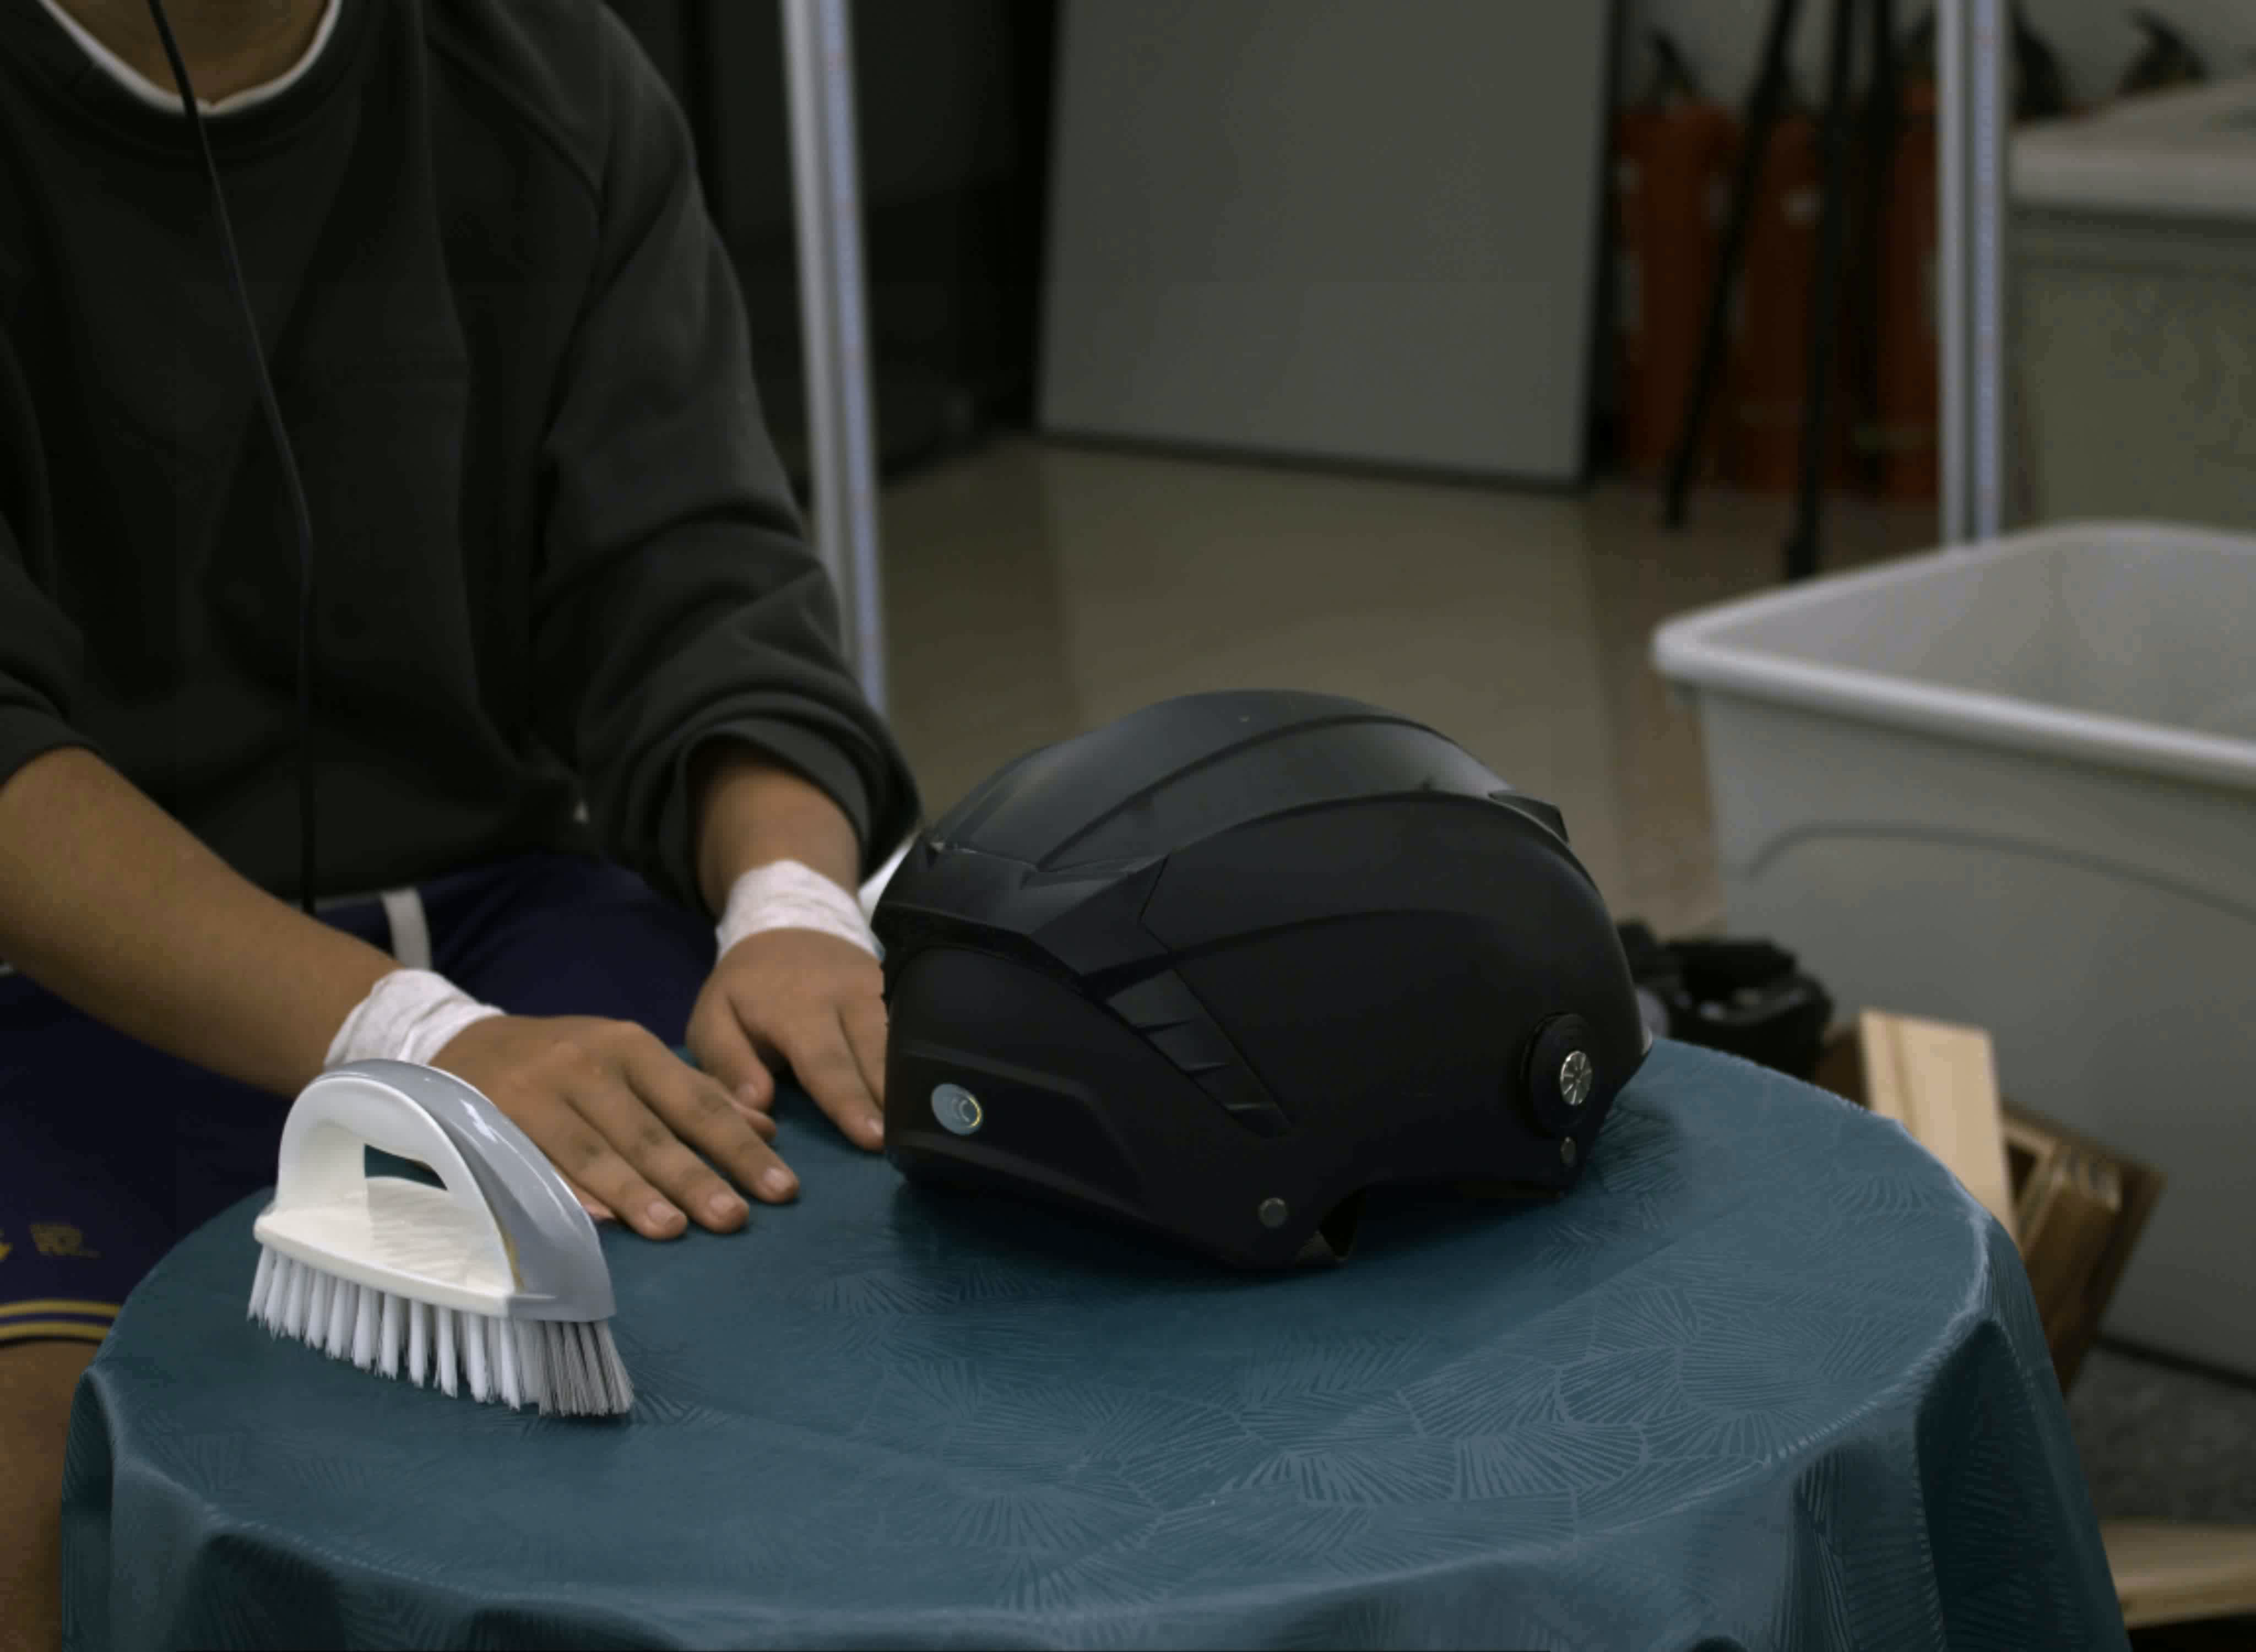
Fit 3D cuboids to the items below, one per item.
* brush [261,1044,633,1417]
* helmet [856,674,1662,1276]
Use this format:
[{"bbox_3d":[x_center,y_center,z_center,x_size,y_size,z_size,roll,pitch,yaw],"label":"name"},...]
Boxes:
[{"bbox_3d":[-0.203,0.119,1.644,0.060,0.095,0.177,-15,19,-35],"label":"brush"},{"bbox_3d":[0.043,0.037,1.765,0.271,0.174,0.249,-20,21,-38],"label":"helmet"}]
